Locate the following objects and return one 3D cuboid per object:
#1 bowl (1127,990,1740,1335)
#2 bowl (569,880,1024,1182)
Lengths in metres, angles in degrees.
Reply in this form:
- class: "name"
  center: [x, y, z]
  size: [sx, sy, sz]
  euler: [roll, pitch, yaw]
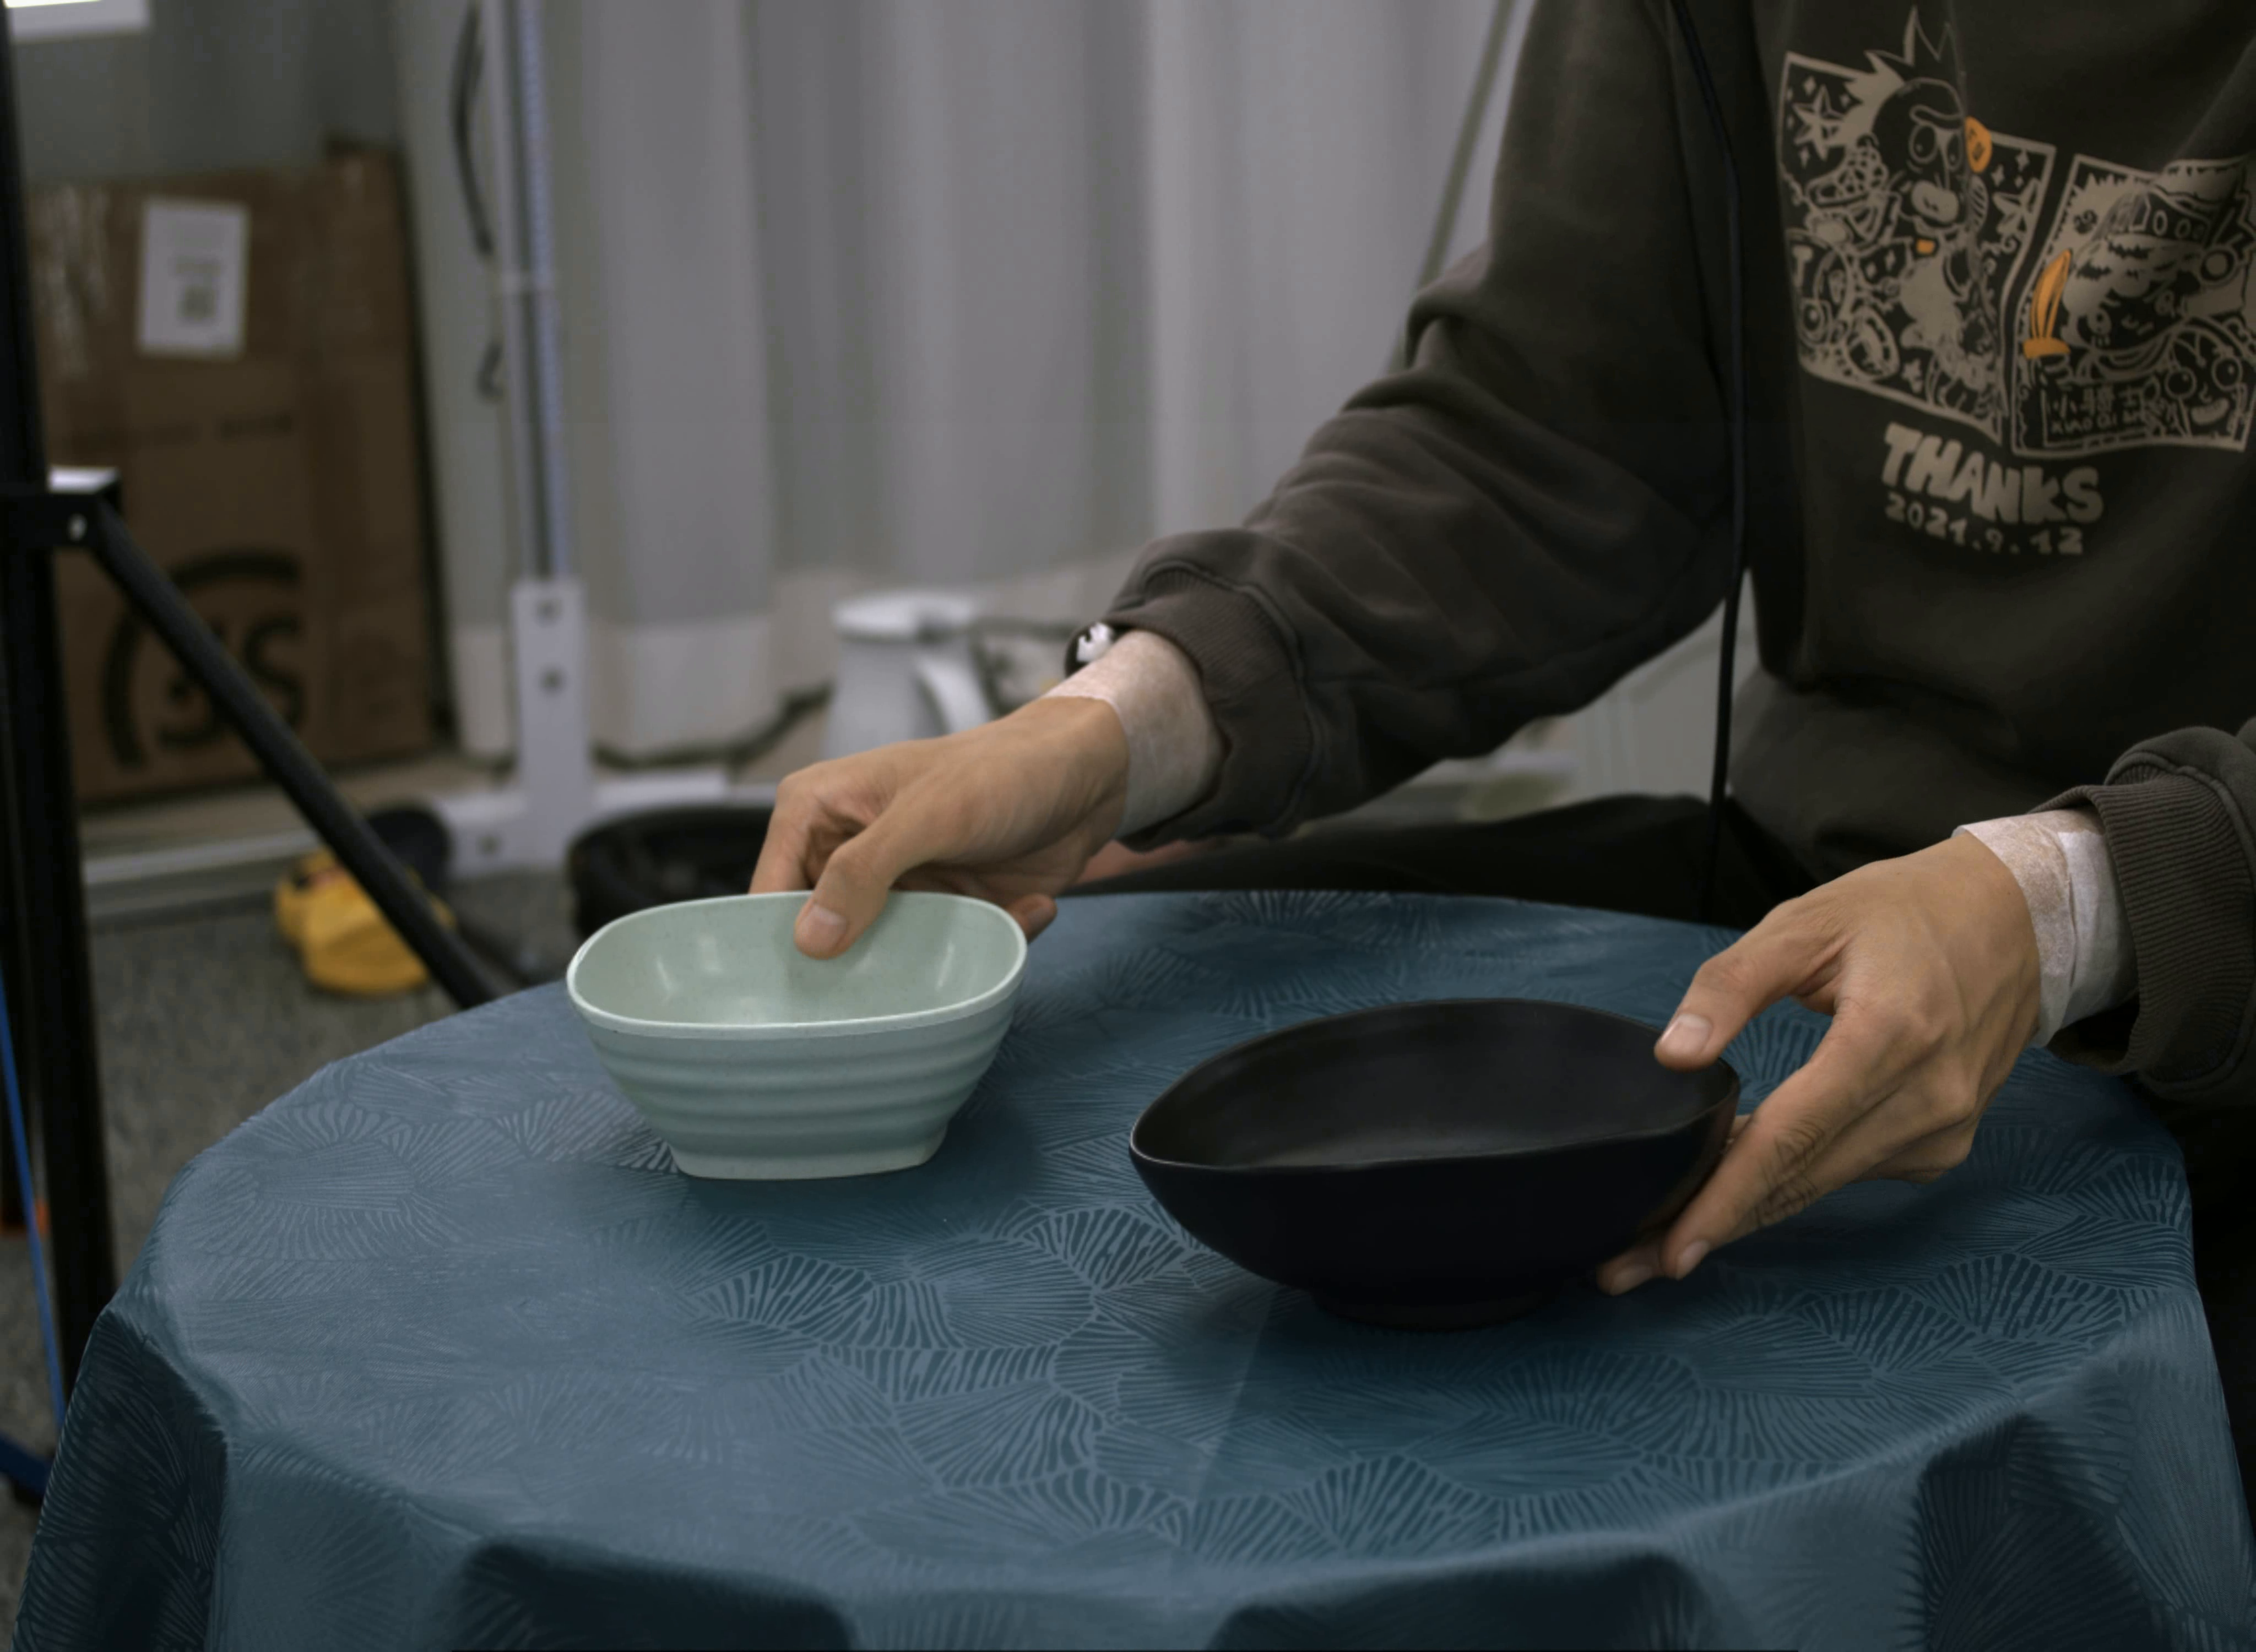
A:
- class: "bowl"
  center: [0.086, 0.099, 1.462]
  size: [0.169, 0.066, 0.138]
  euler: [-6, 16, -5]
- class: "bowl"
  center: [-0.099, 0.066, 1.623]
  size: [0.151, 0.058, 0.152]
  euler: [-3, 18, 0]
